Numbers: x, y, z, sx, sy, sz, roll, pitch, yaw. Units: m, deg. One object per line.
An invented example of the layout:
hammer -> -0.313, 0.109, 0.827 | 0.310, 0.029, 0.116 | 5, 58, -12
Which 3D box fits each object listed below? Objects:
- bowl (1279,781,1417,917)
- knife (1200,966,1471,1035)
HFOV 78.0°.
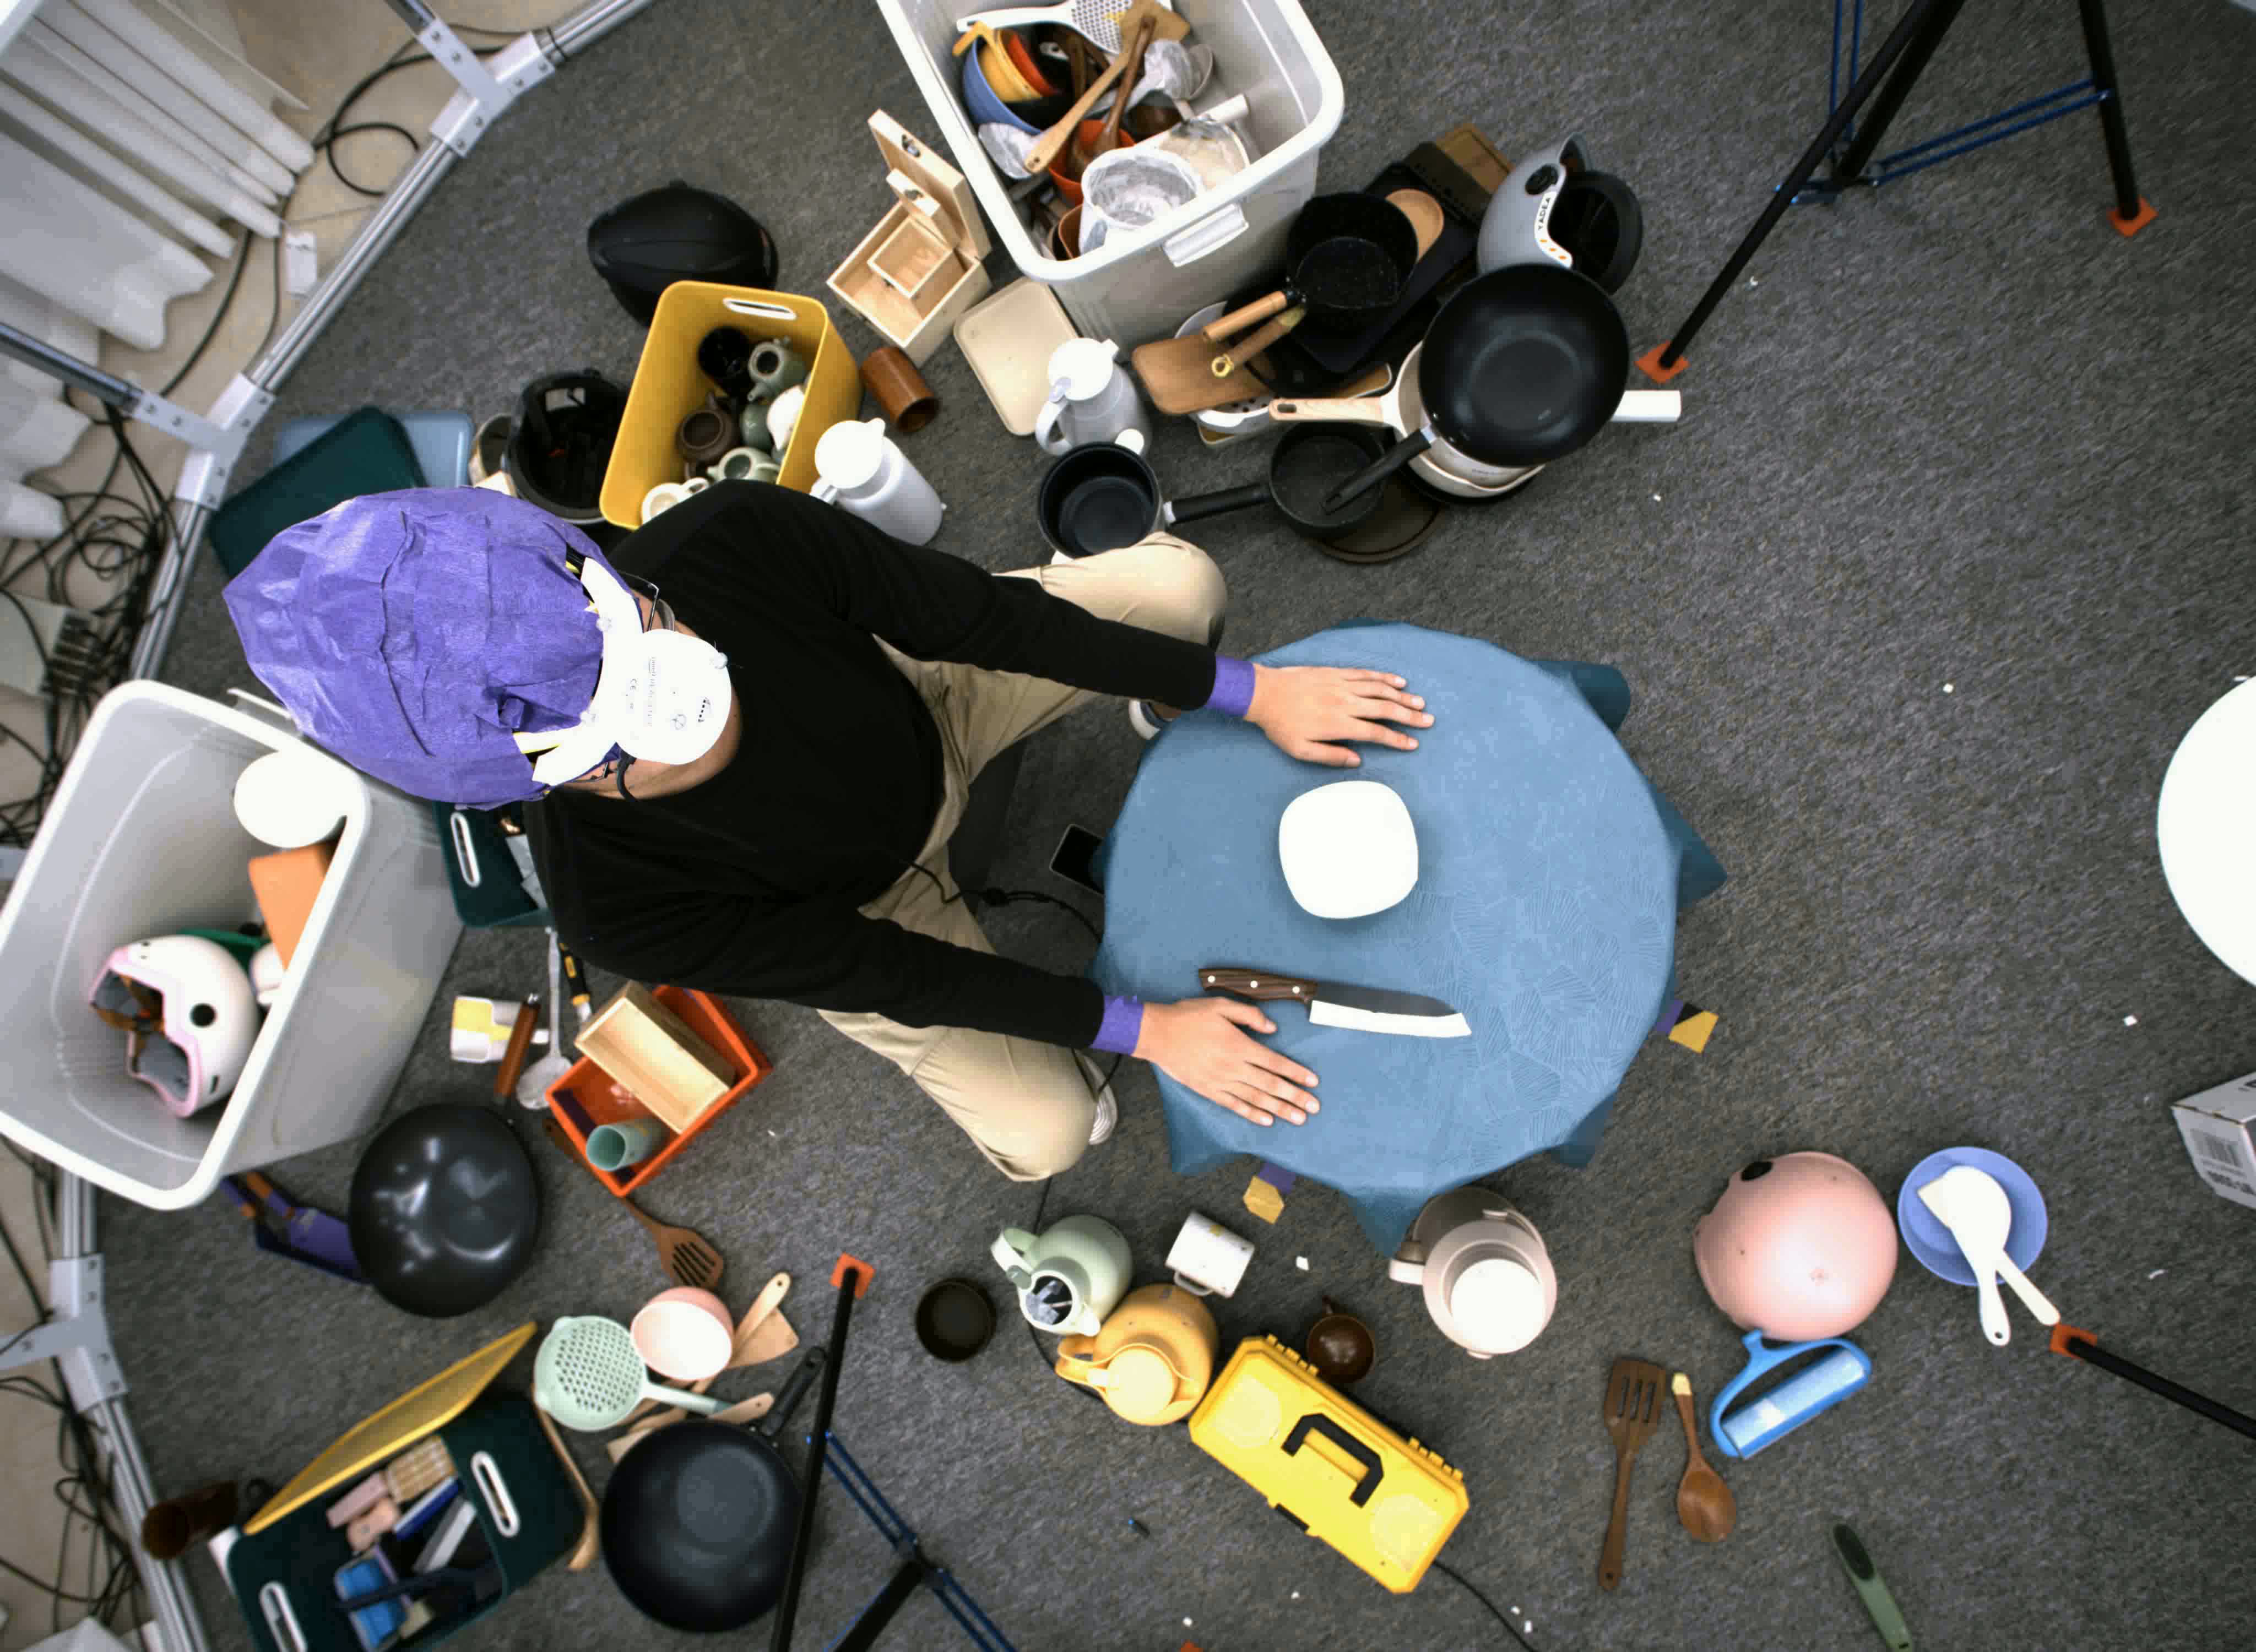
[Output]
bowl -> 0.229, 0.025, 1.443 | 0.152, 0.058, 0.151 | -1, 87, 9
knife -> 0.217, 0.183, 1.459 | 0.289, 0.020, 0.050 | 10, 94, 9
